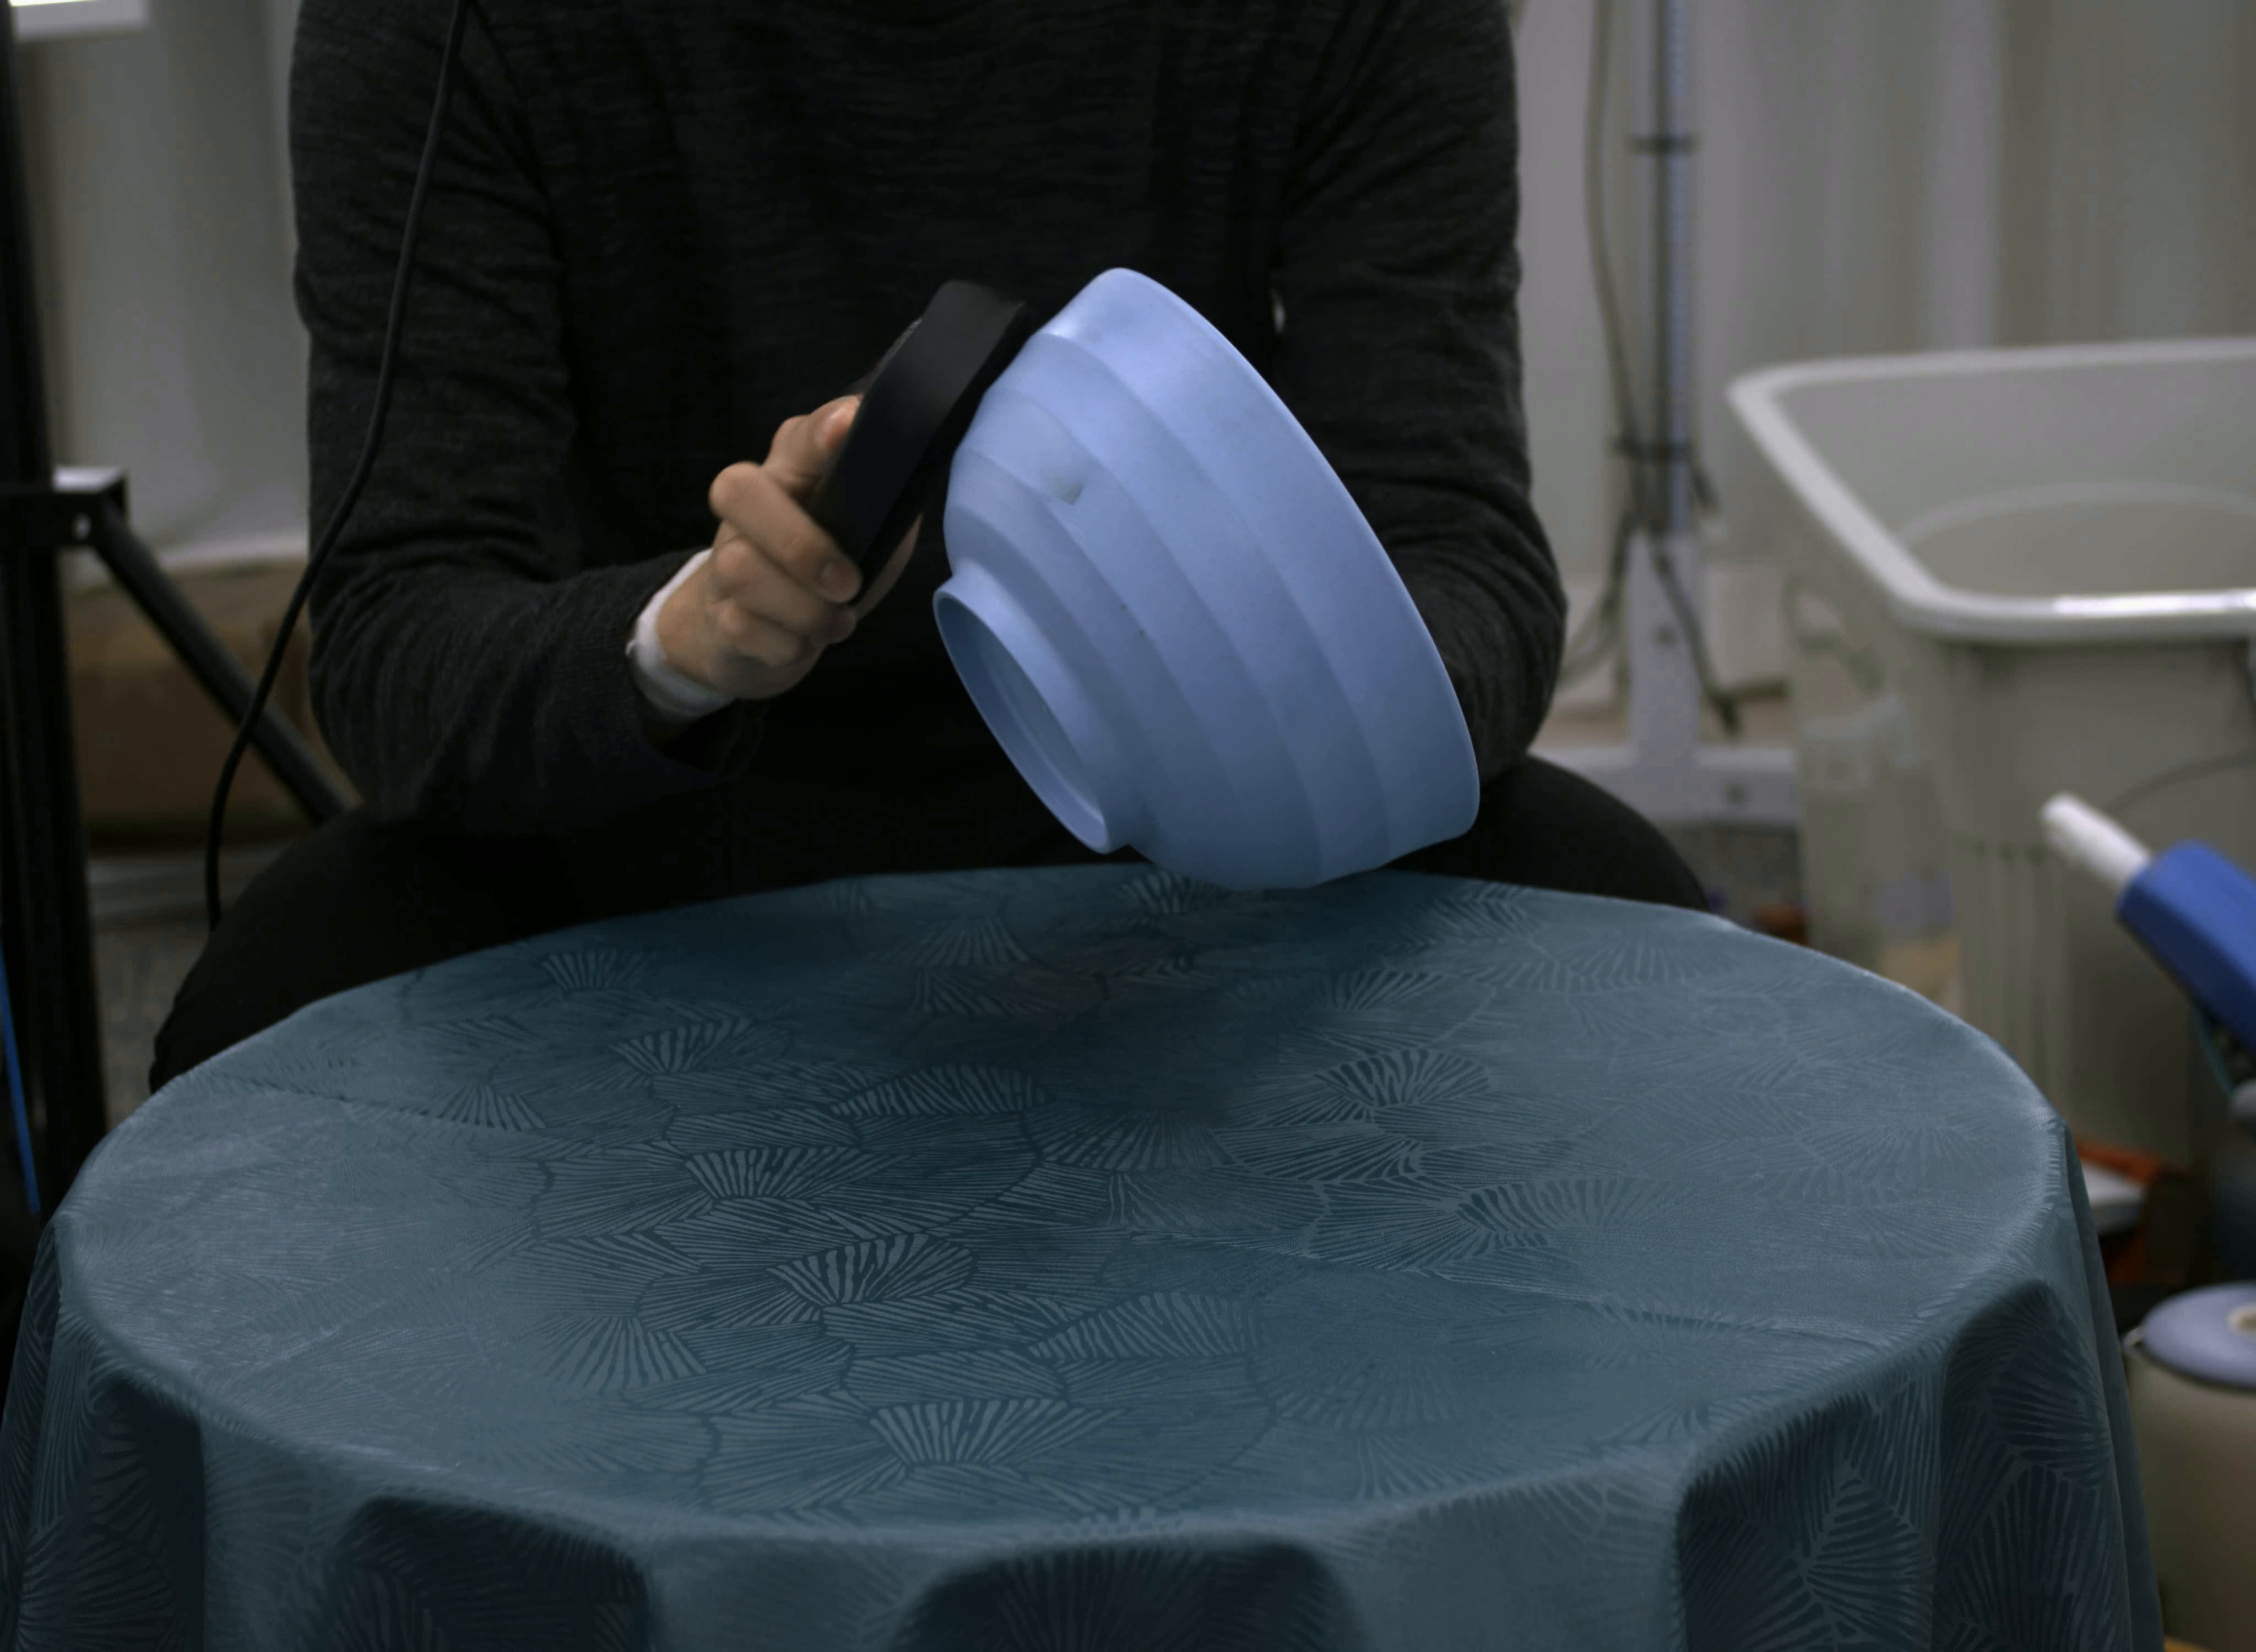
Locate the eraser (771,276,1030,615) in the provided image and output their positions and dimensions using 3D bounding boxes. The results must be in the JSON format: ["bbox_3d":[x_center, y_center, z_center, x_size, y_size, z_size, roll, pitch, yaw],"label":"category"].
[{"bbox_3d":[-0.069,-0.114,1.607,0.053,0.030,0.126,-53,0,-31],"label":"eraser"}]

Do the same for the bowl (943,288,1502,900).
[{"bbox_3d":[0.011,-0.050,1.555,0.095,0.194,0.200,-39,26,-11],"label":"bowl"}]
